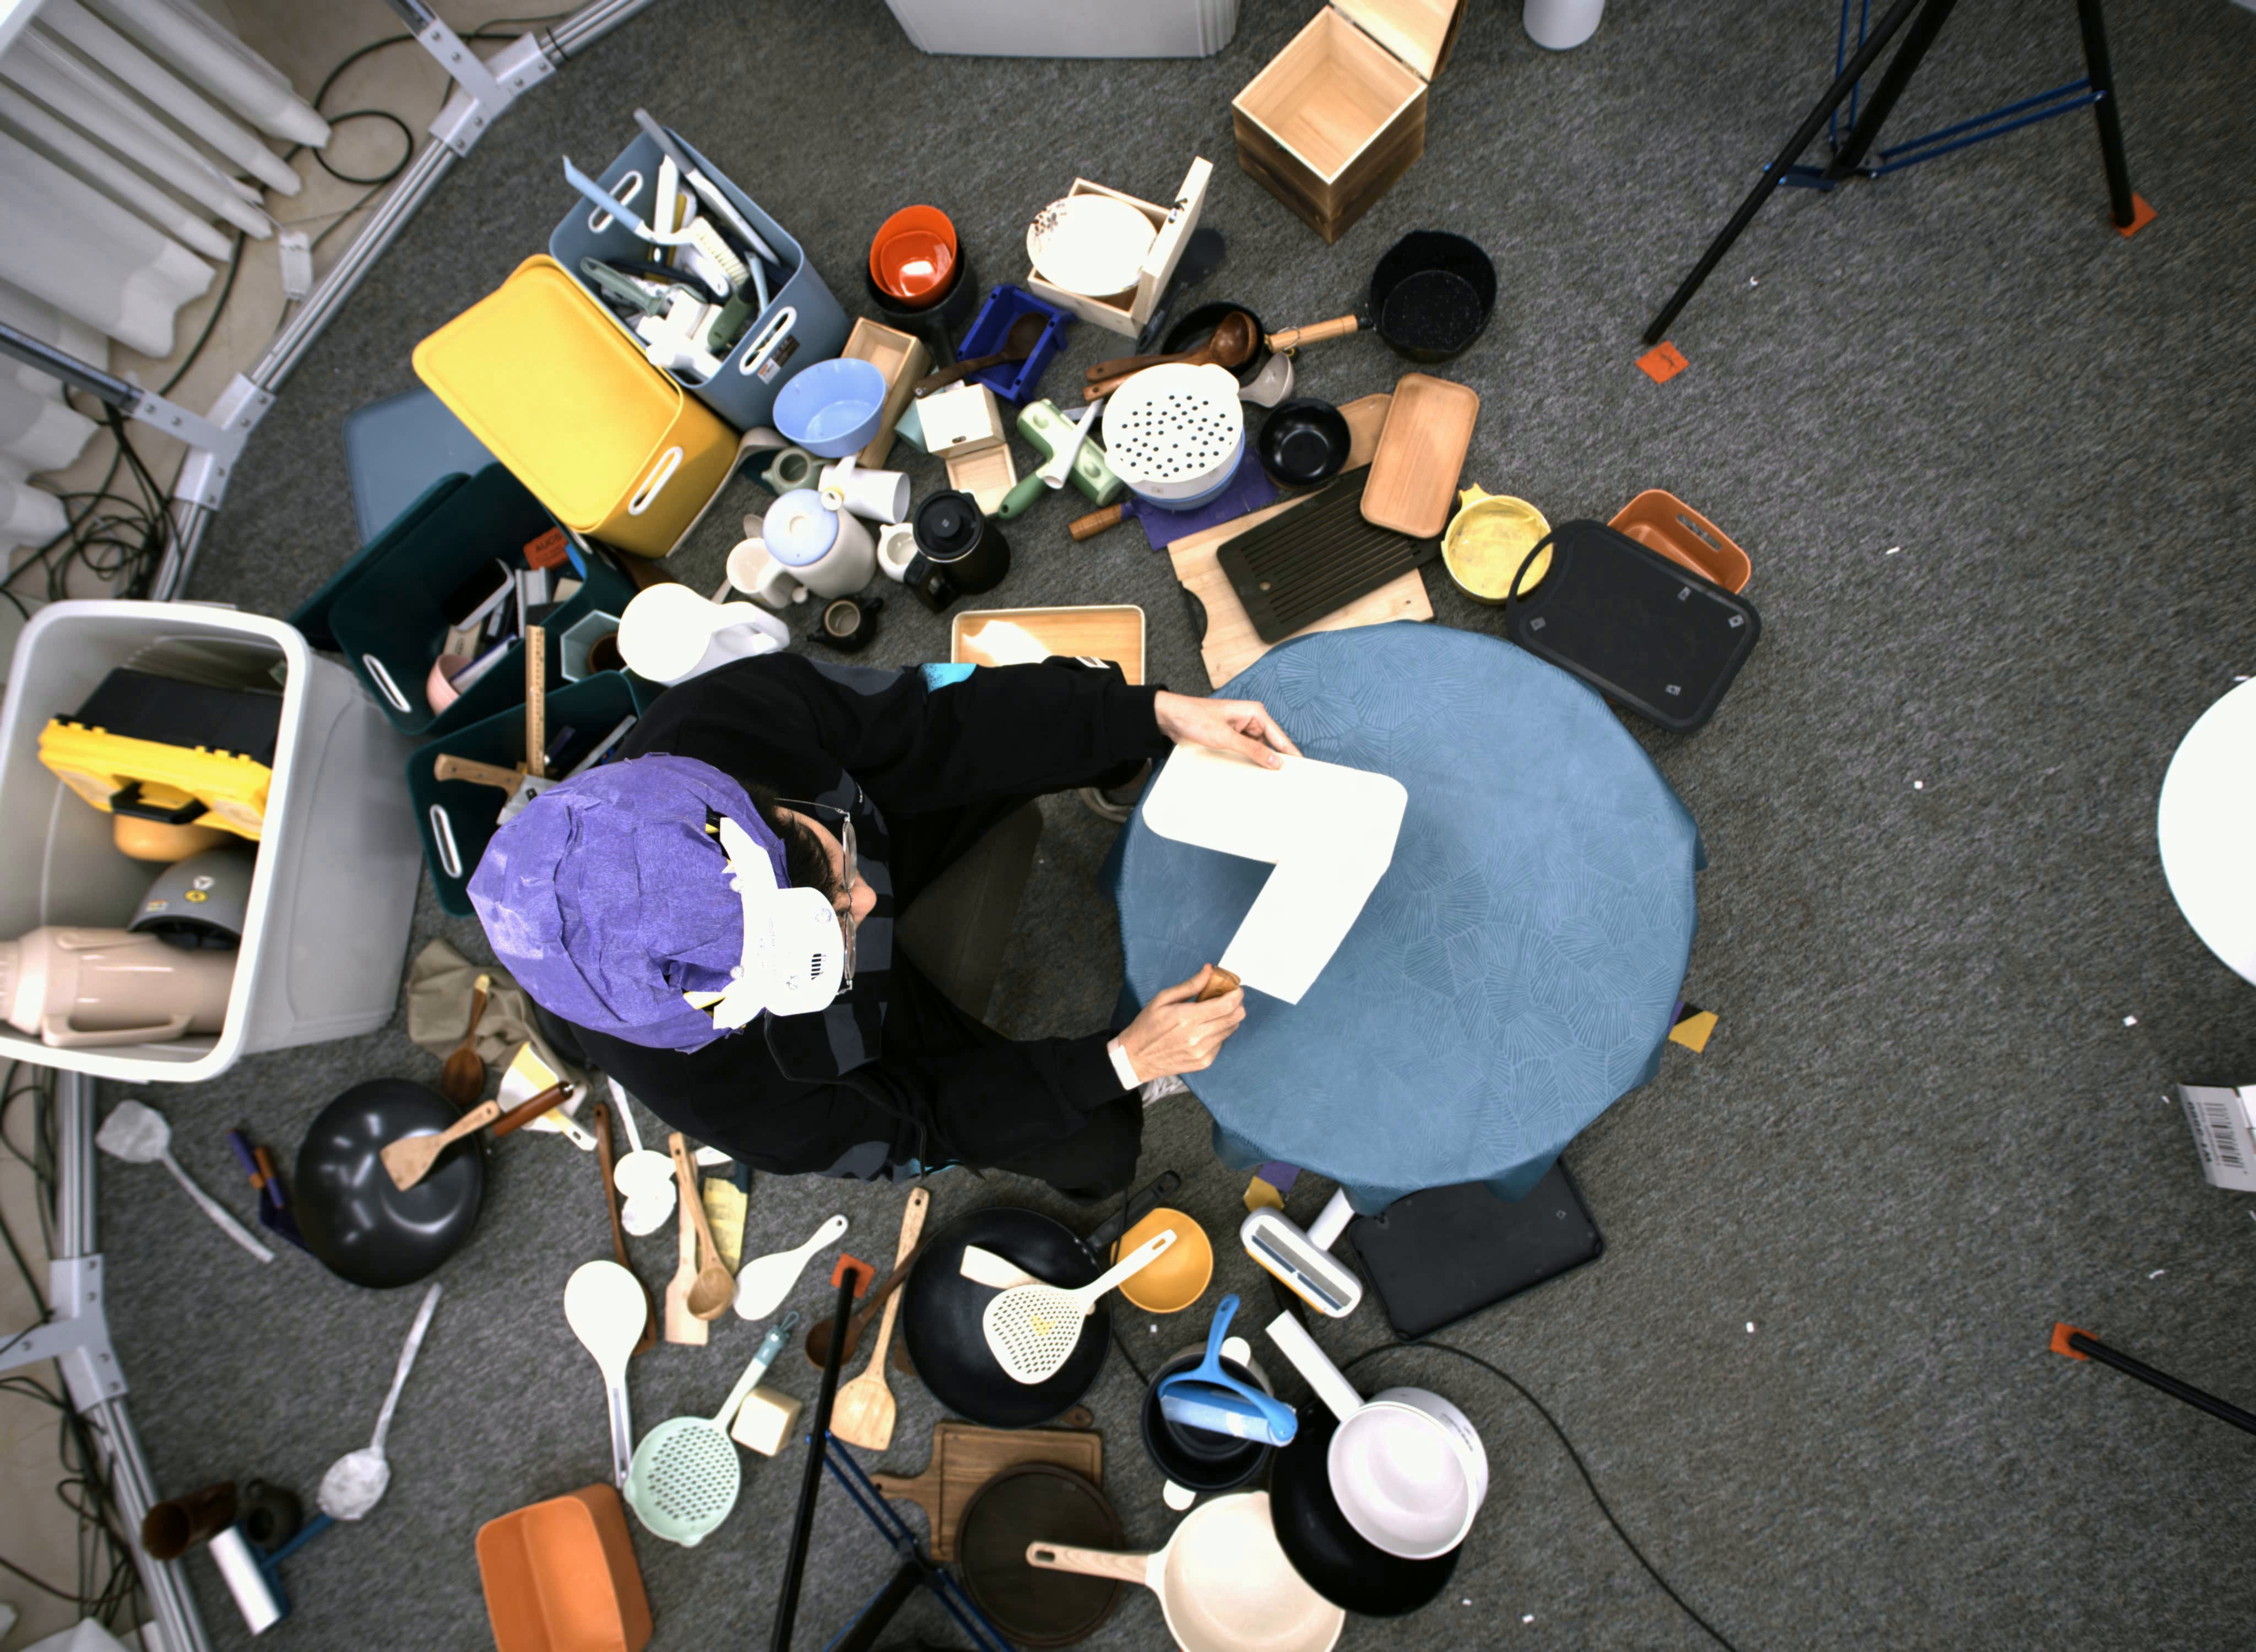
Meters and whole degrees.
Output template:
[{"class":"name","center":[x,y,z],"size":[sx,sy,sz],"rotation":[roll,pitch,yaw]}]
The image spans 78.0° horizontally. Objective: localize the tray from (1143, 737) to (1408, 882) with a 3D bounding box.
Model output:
[{"class":"tray","center":[0.144,-0.018,1.339],"size":[0.240,0.167,0.018],"rotation":[13,130,13]}]

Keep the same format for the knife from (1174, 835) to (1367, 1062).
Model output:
[{"class":"knife","center":[0.136,0.130,1.331],"size":[0.093,0.020,0.313],"rotation":[20,128,-8]}]
